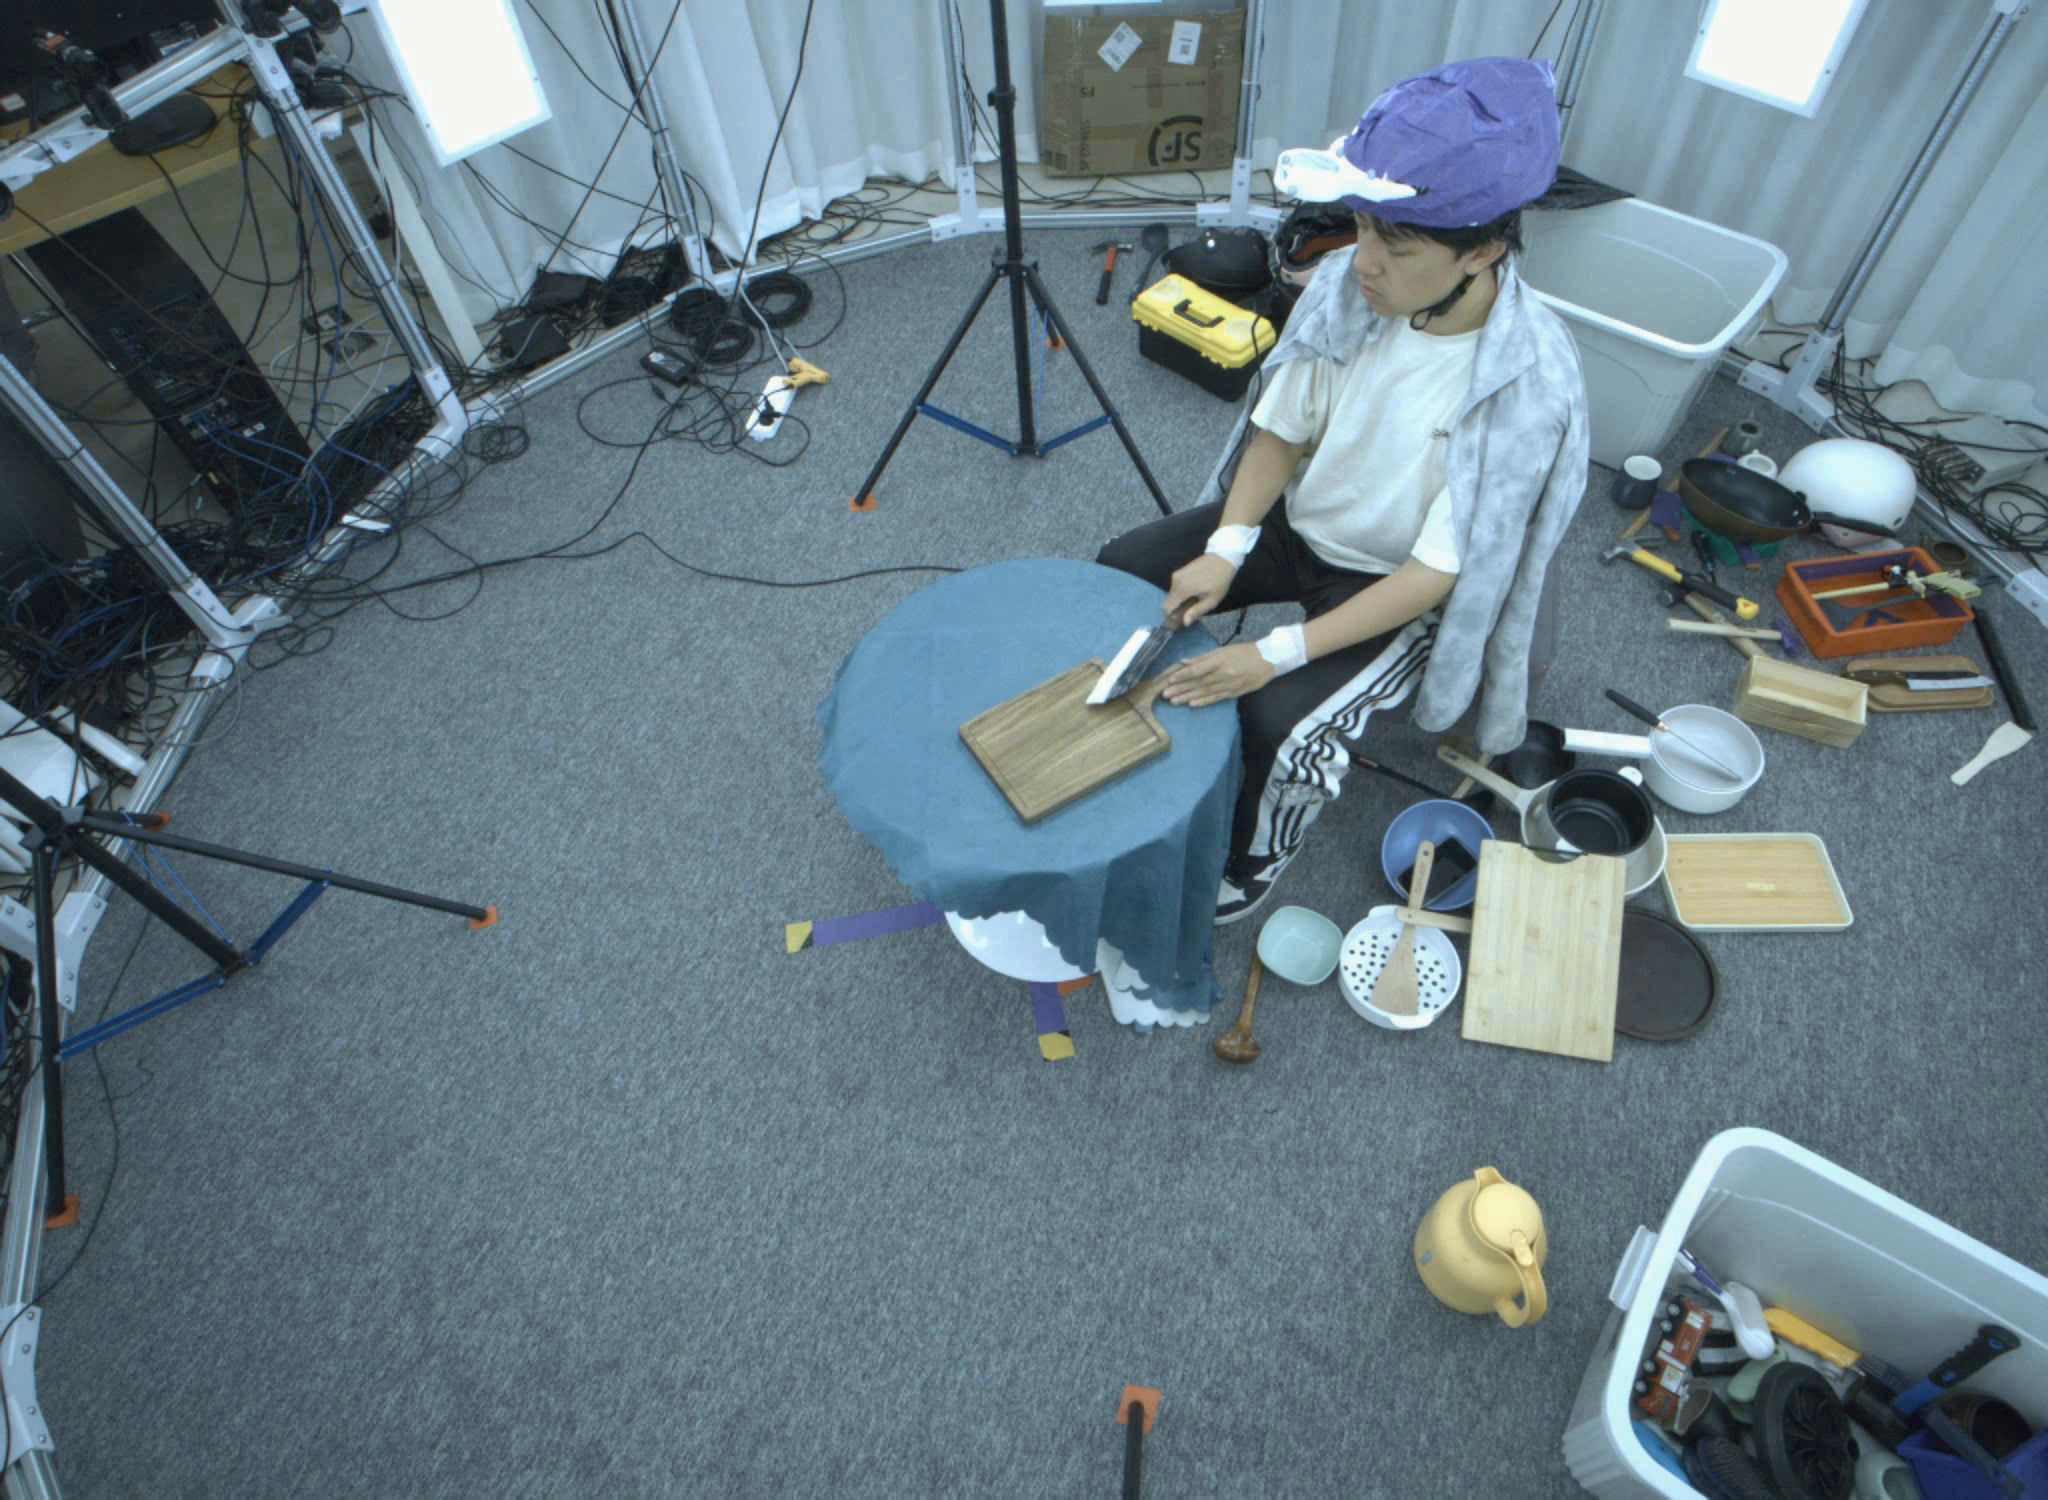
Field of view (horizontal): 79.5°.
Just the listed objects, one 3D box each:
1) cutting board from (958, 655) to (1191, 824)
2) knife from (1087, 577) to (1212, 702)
[{"bbox_3d":[0.100,-0.043,1.804,0.355,0.023,0.197,-28,59,-17],"label":"cutting board"},{"bbox_3d":[0.192,-0.168,1.866,0.066,0.024,0.301,14,52,37],"label":"knife"}]
